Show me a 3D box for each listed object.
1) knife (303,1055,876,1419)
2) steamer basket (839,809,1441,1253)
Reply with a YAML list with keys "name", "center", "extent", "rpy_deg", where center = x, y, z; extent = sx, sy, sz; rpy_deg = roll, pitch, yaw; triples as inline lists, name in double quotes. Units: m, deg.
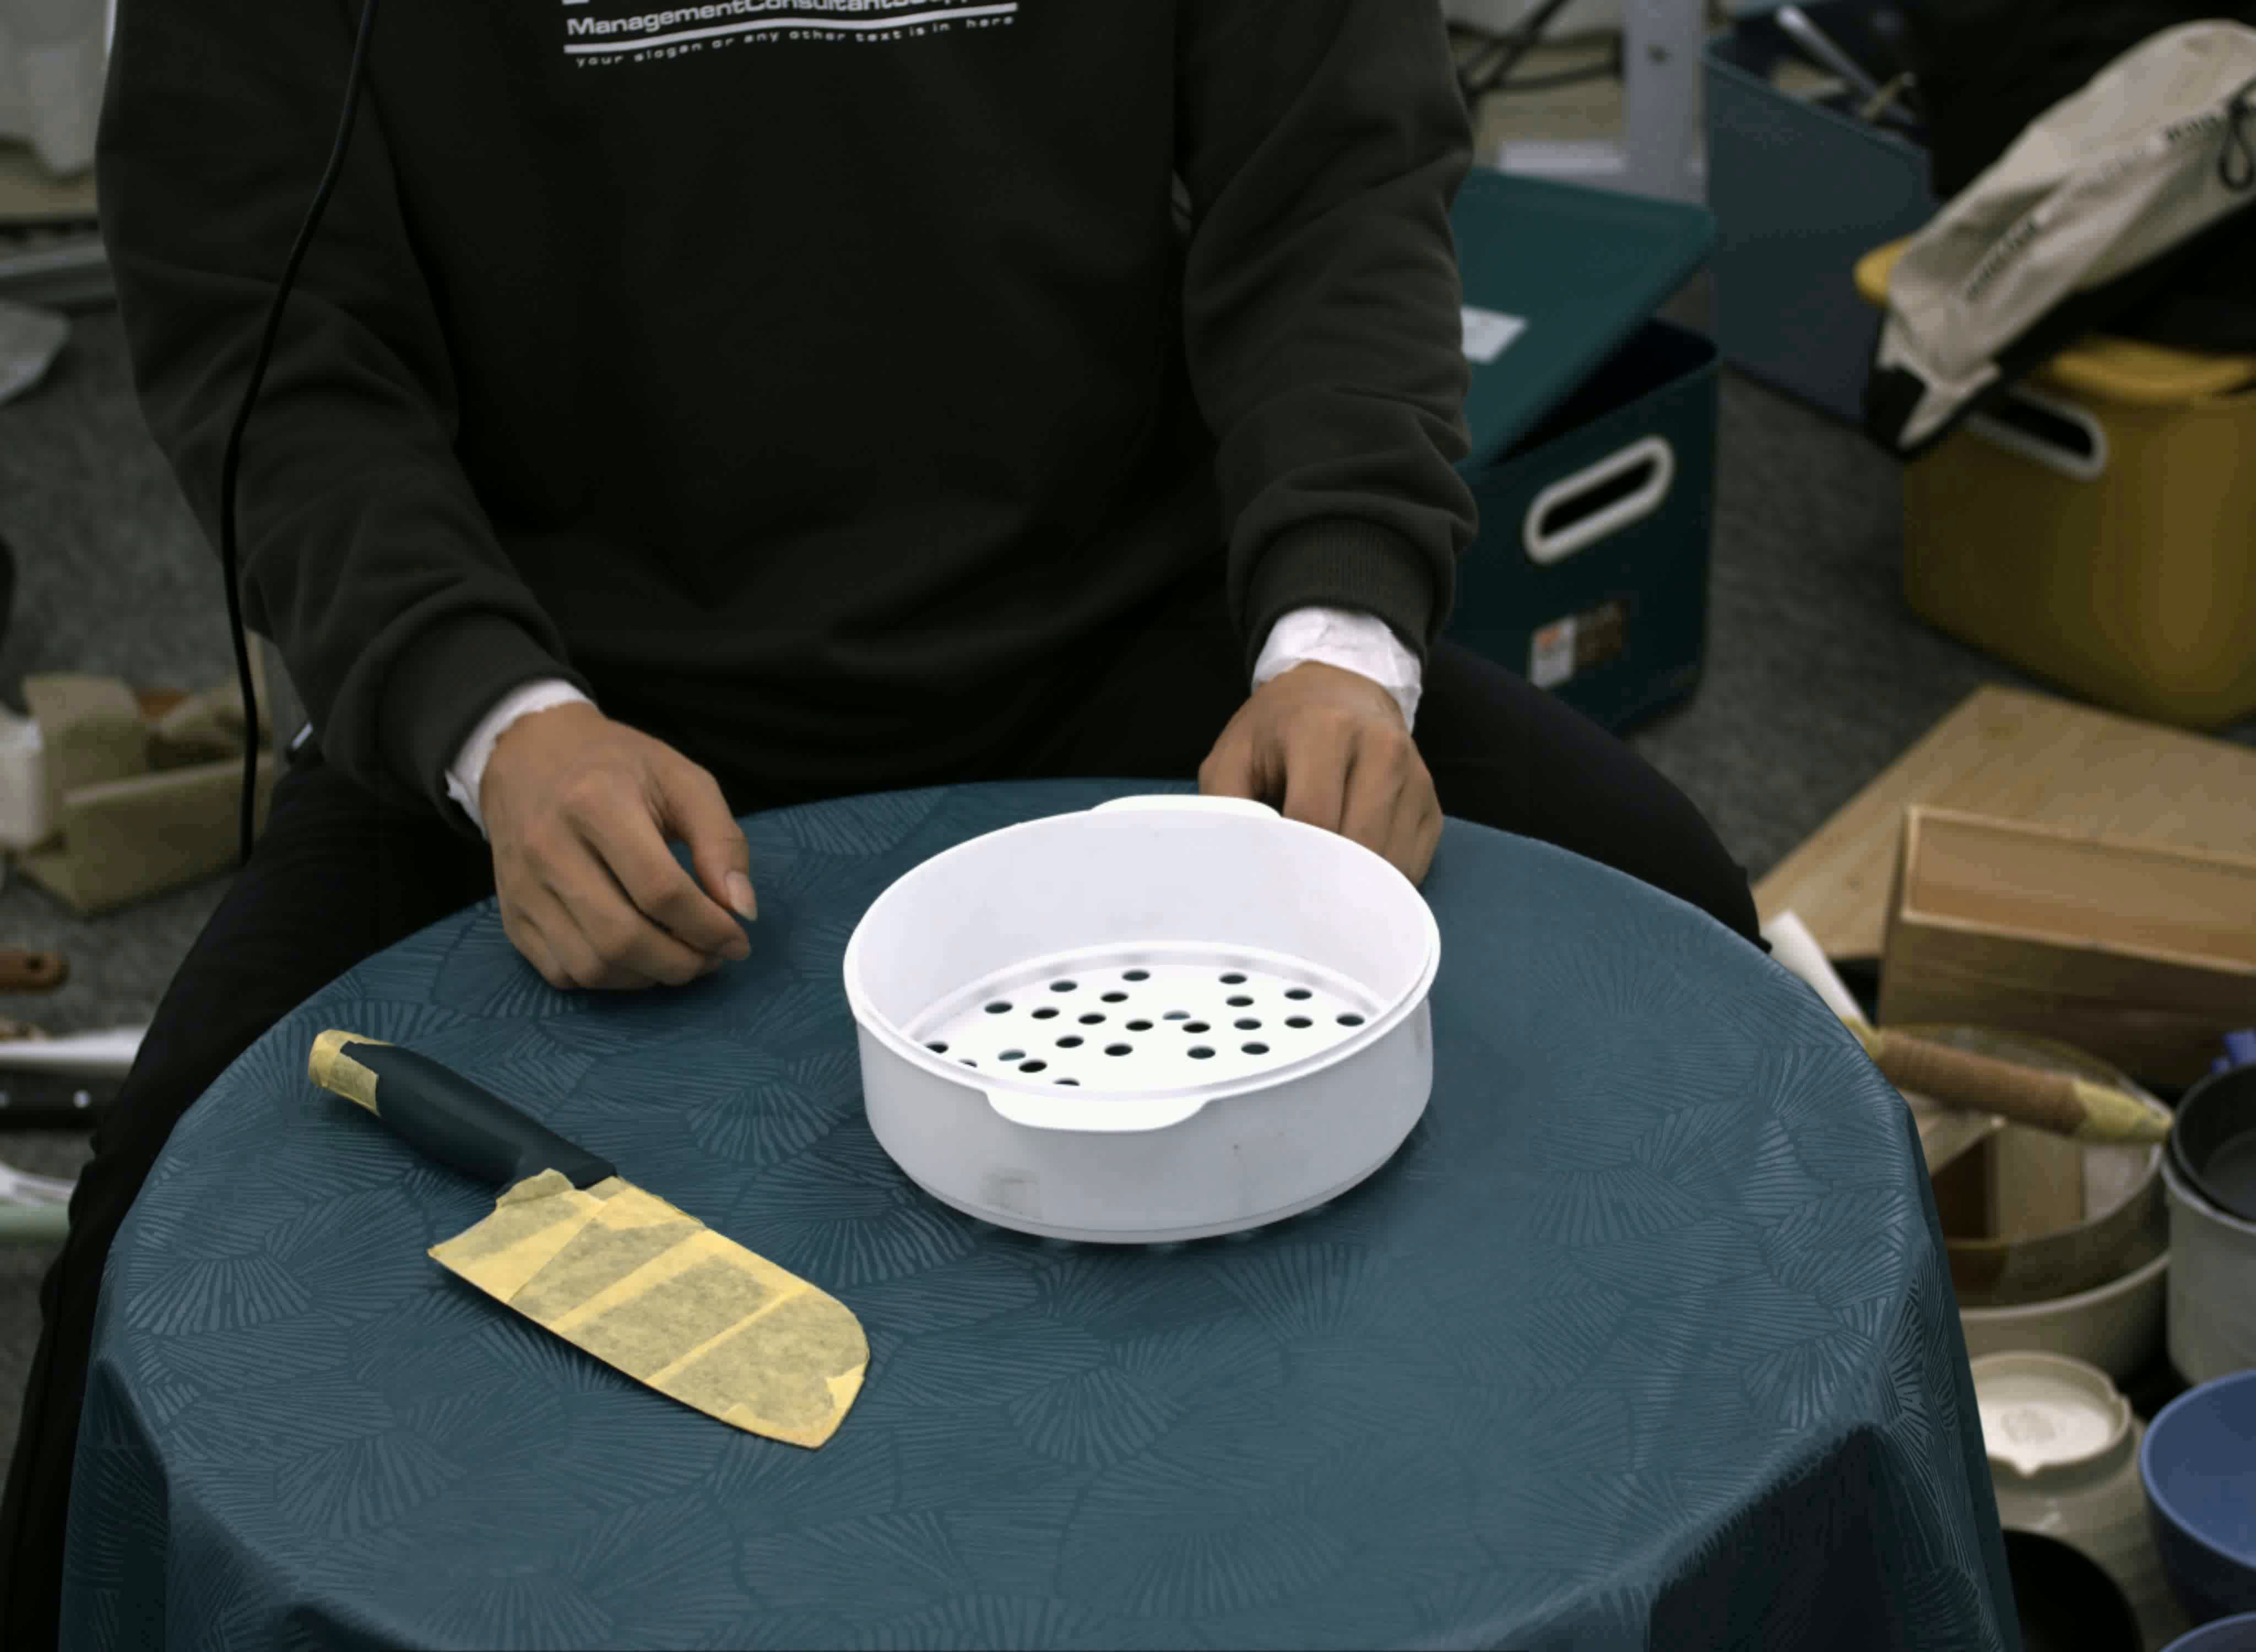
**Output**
- name: "knife"
  center: [-0.186, 0.136, 1.836]
  extent: [0.082, 0.027, 0.289]
  rpy_deg: [-24, 35, -38]
- name: "steamer basket"
  center: [0.005, 0.070, 1.889]
  extent: [0.200, 0.068, 0.234]
  rpy_deg: [3, 26, 9]
